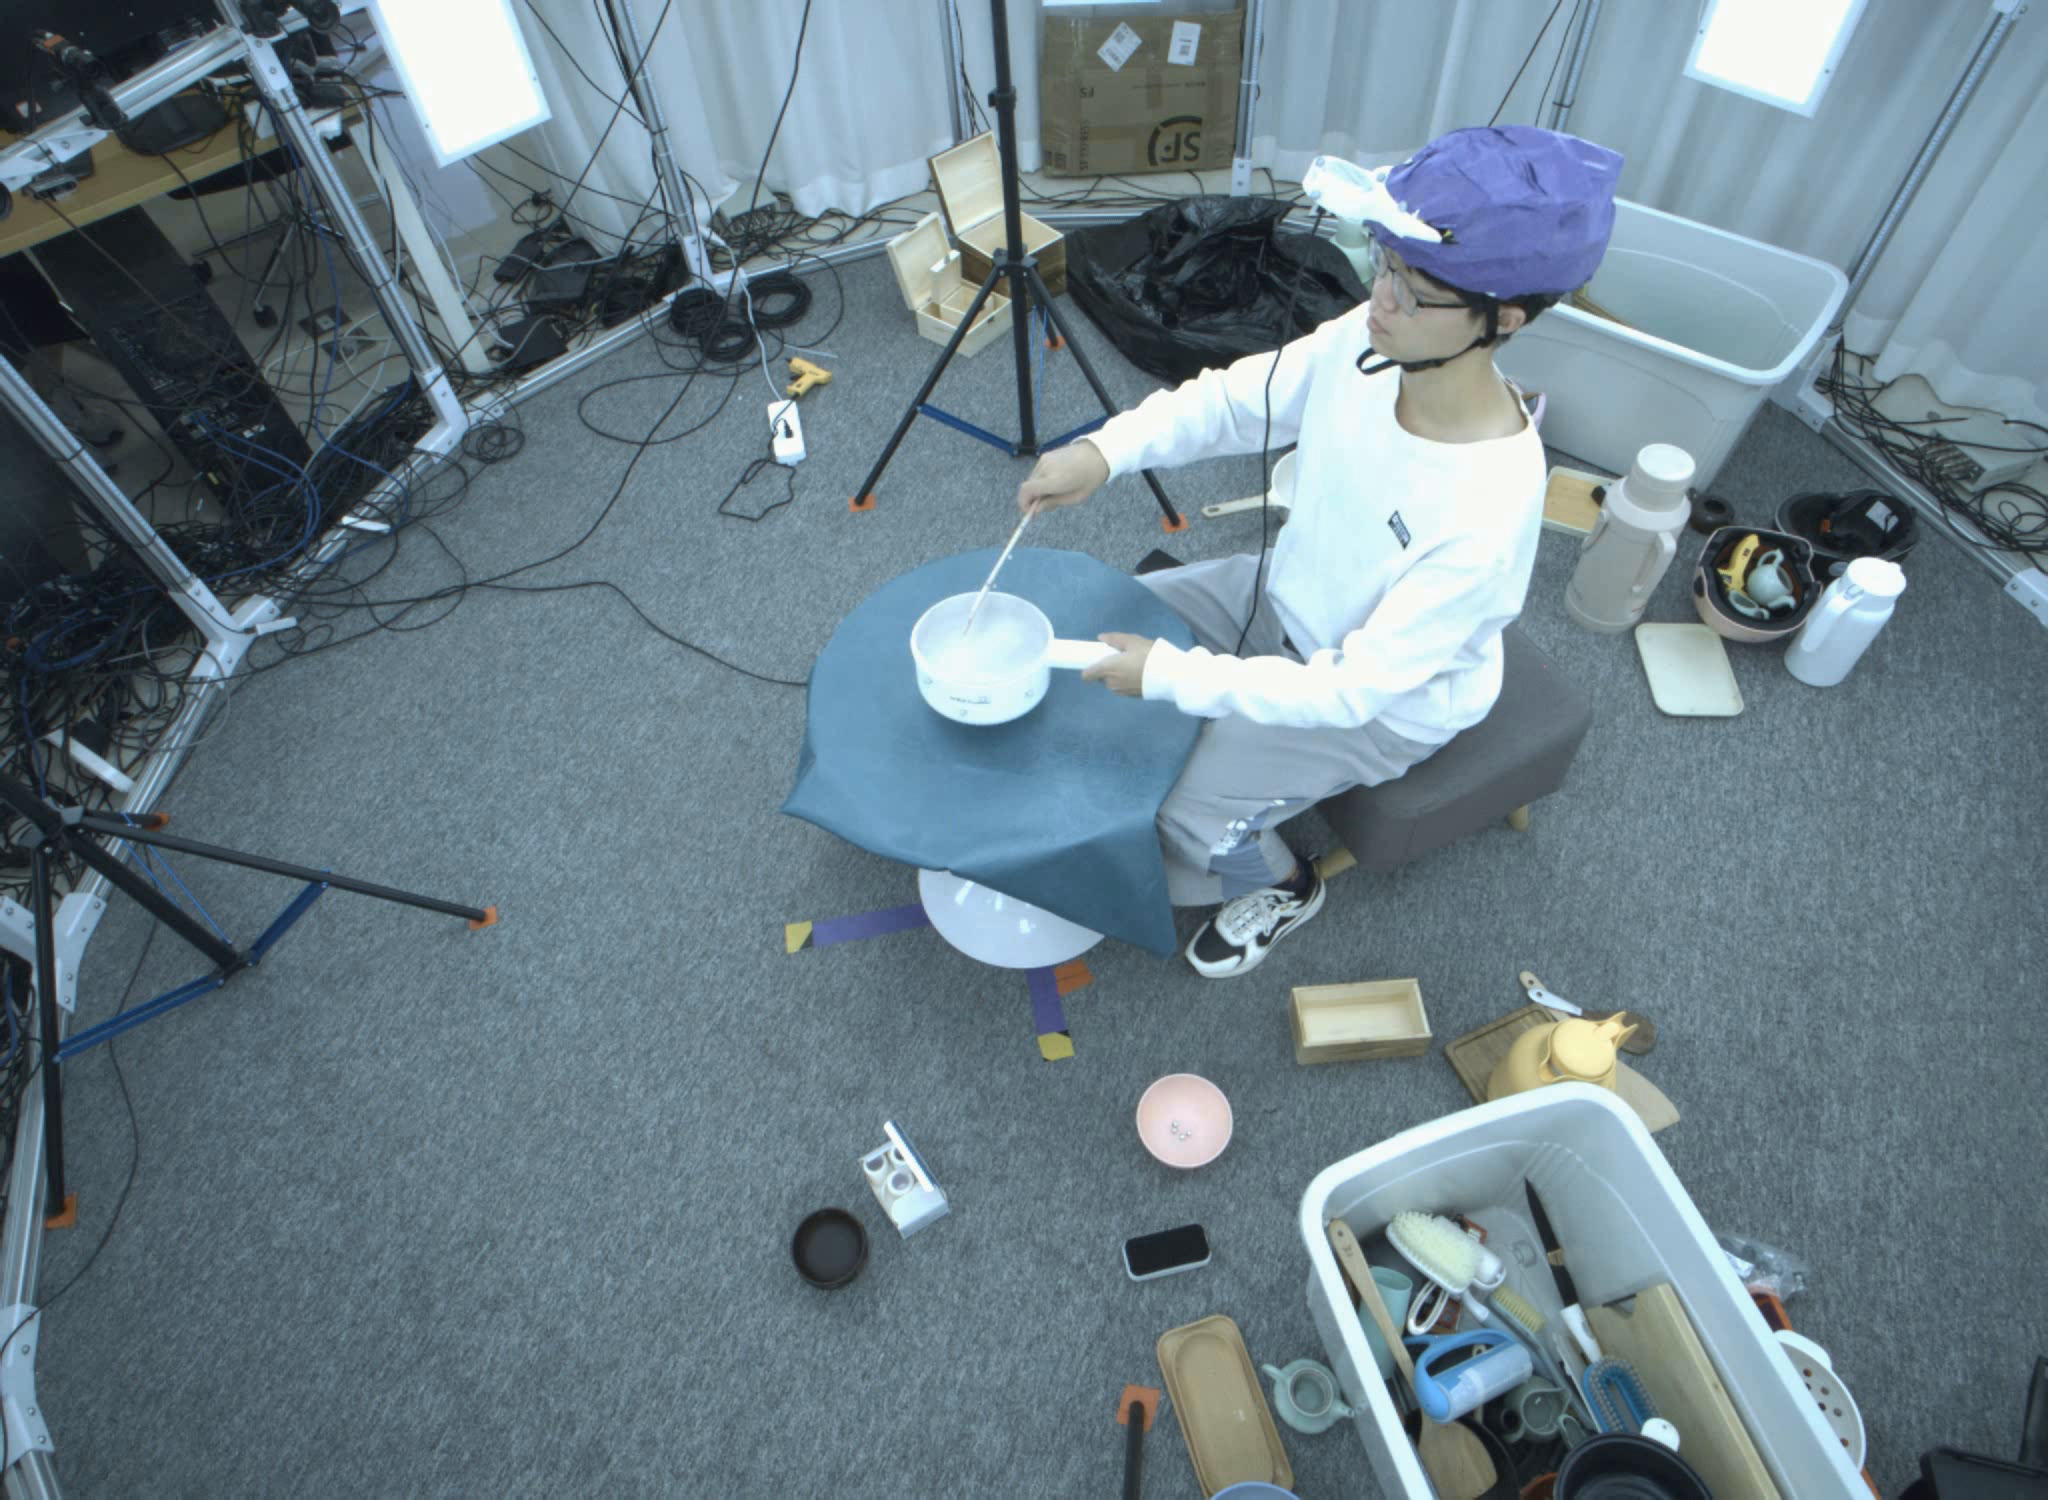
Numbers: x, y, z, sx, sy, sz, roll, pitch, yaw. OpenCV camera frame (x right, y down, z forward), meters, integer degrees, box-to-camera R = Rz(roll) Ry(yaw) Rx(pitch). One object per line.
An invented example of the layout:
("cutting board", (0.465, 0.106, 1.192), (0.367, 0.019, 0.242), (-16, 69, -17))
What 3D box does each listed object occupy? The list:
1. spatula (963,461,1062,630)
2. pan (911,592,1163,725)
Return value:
("spatula", (-0.016, -0.300, 1.747), (0.011, 0.072, 0.293), (29, 73, -1))
("pan", (0.018, -0.119, 1.759), (0.354, 0.103, 0.200), (6, 47, 4))
